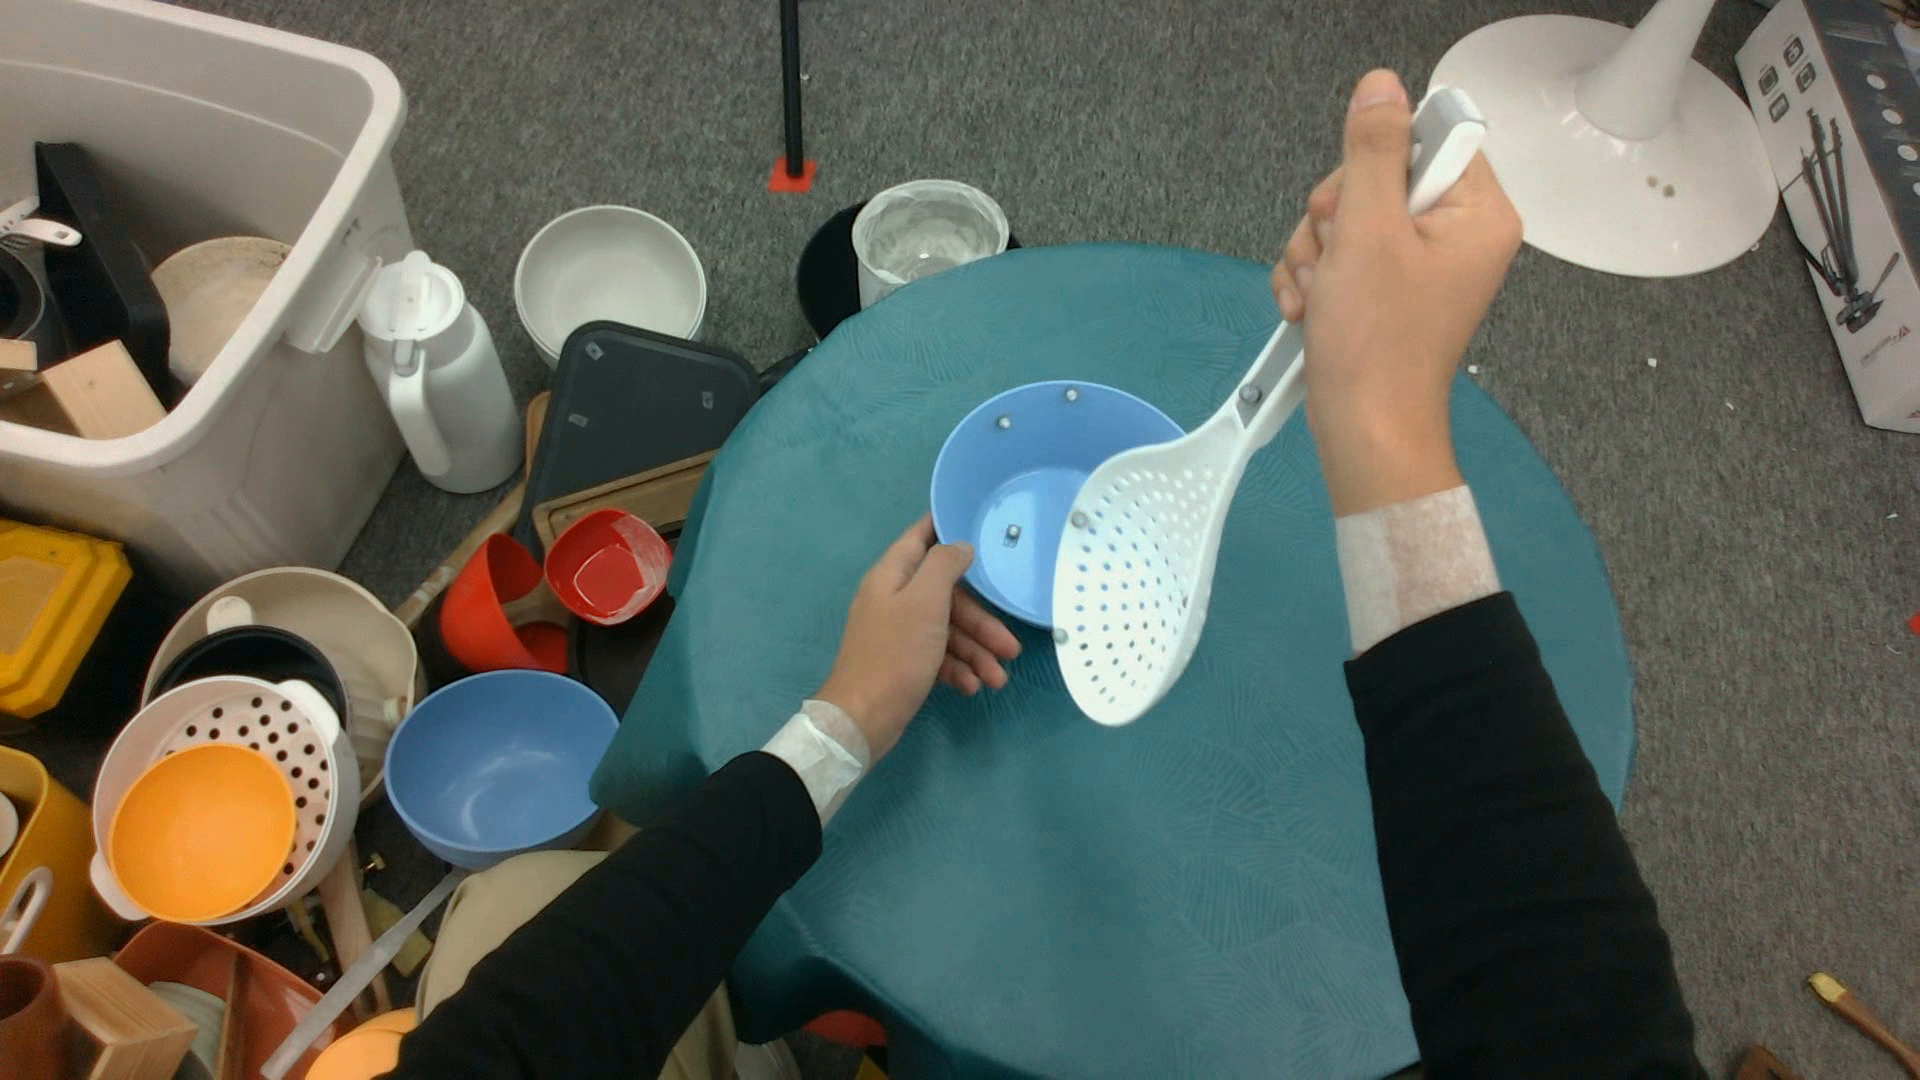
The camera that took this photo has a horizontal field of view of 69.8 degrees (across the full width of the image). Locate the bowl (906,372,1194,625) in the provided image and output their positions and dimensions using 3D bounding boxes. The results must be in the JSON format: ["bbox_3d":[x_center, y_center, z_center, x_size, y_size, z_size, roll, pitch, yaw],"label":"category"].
[{"bbox_3d":[0.052,-0.014,0.857,0.176,0.070,0.177,3,62,-5],"label":"bowl"}]

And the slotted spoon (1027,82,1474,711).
[{"bbox_3d":[0.111,-0.049,0.608,0.046,0.348,0.136,4,50,-19],"label":"slotted spoon"}]
